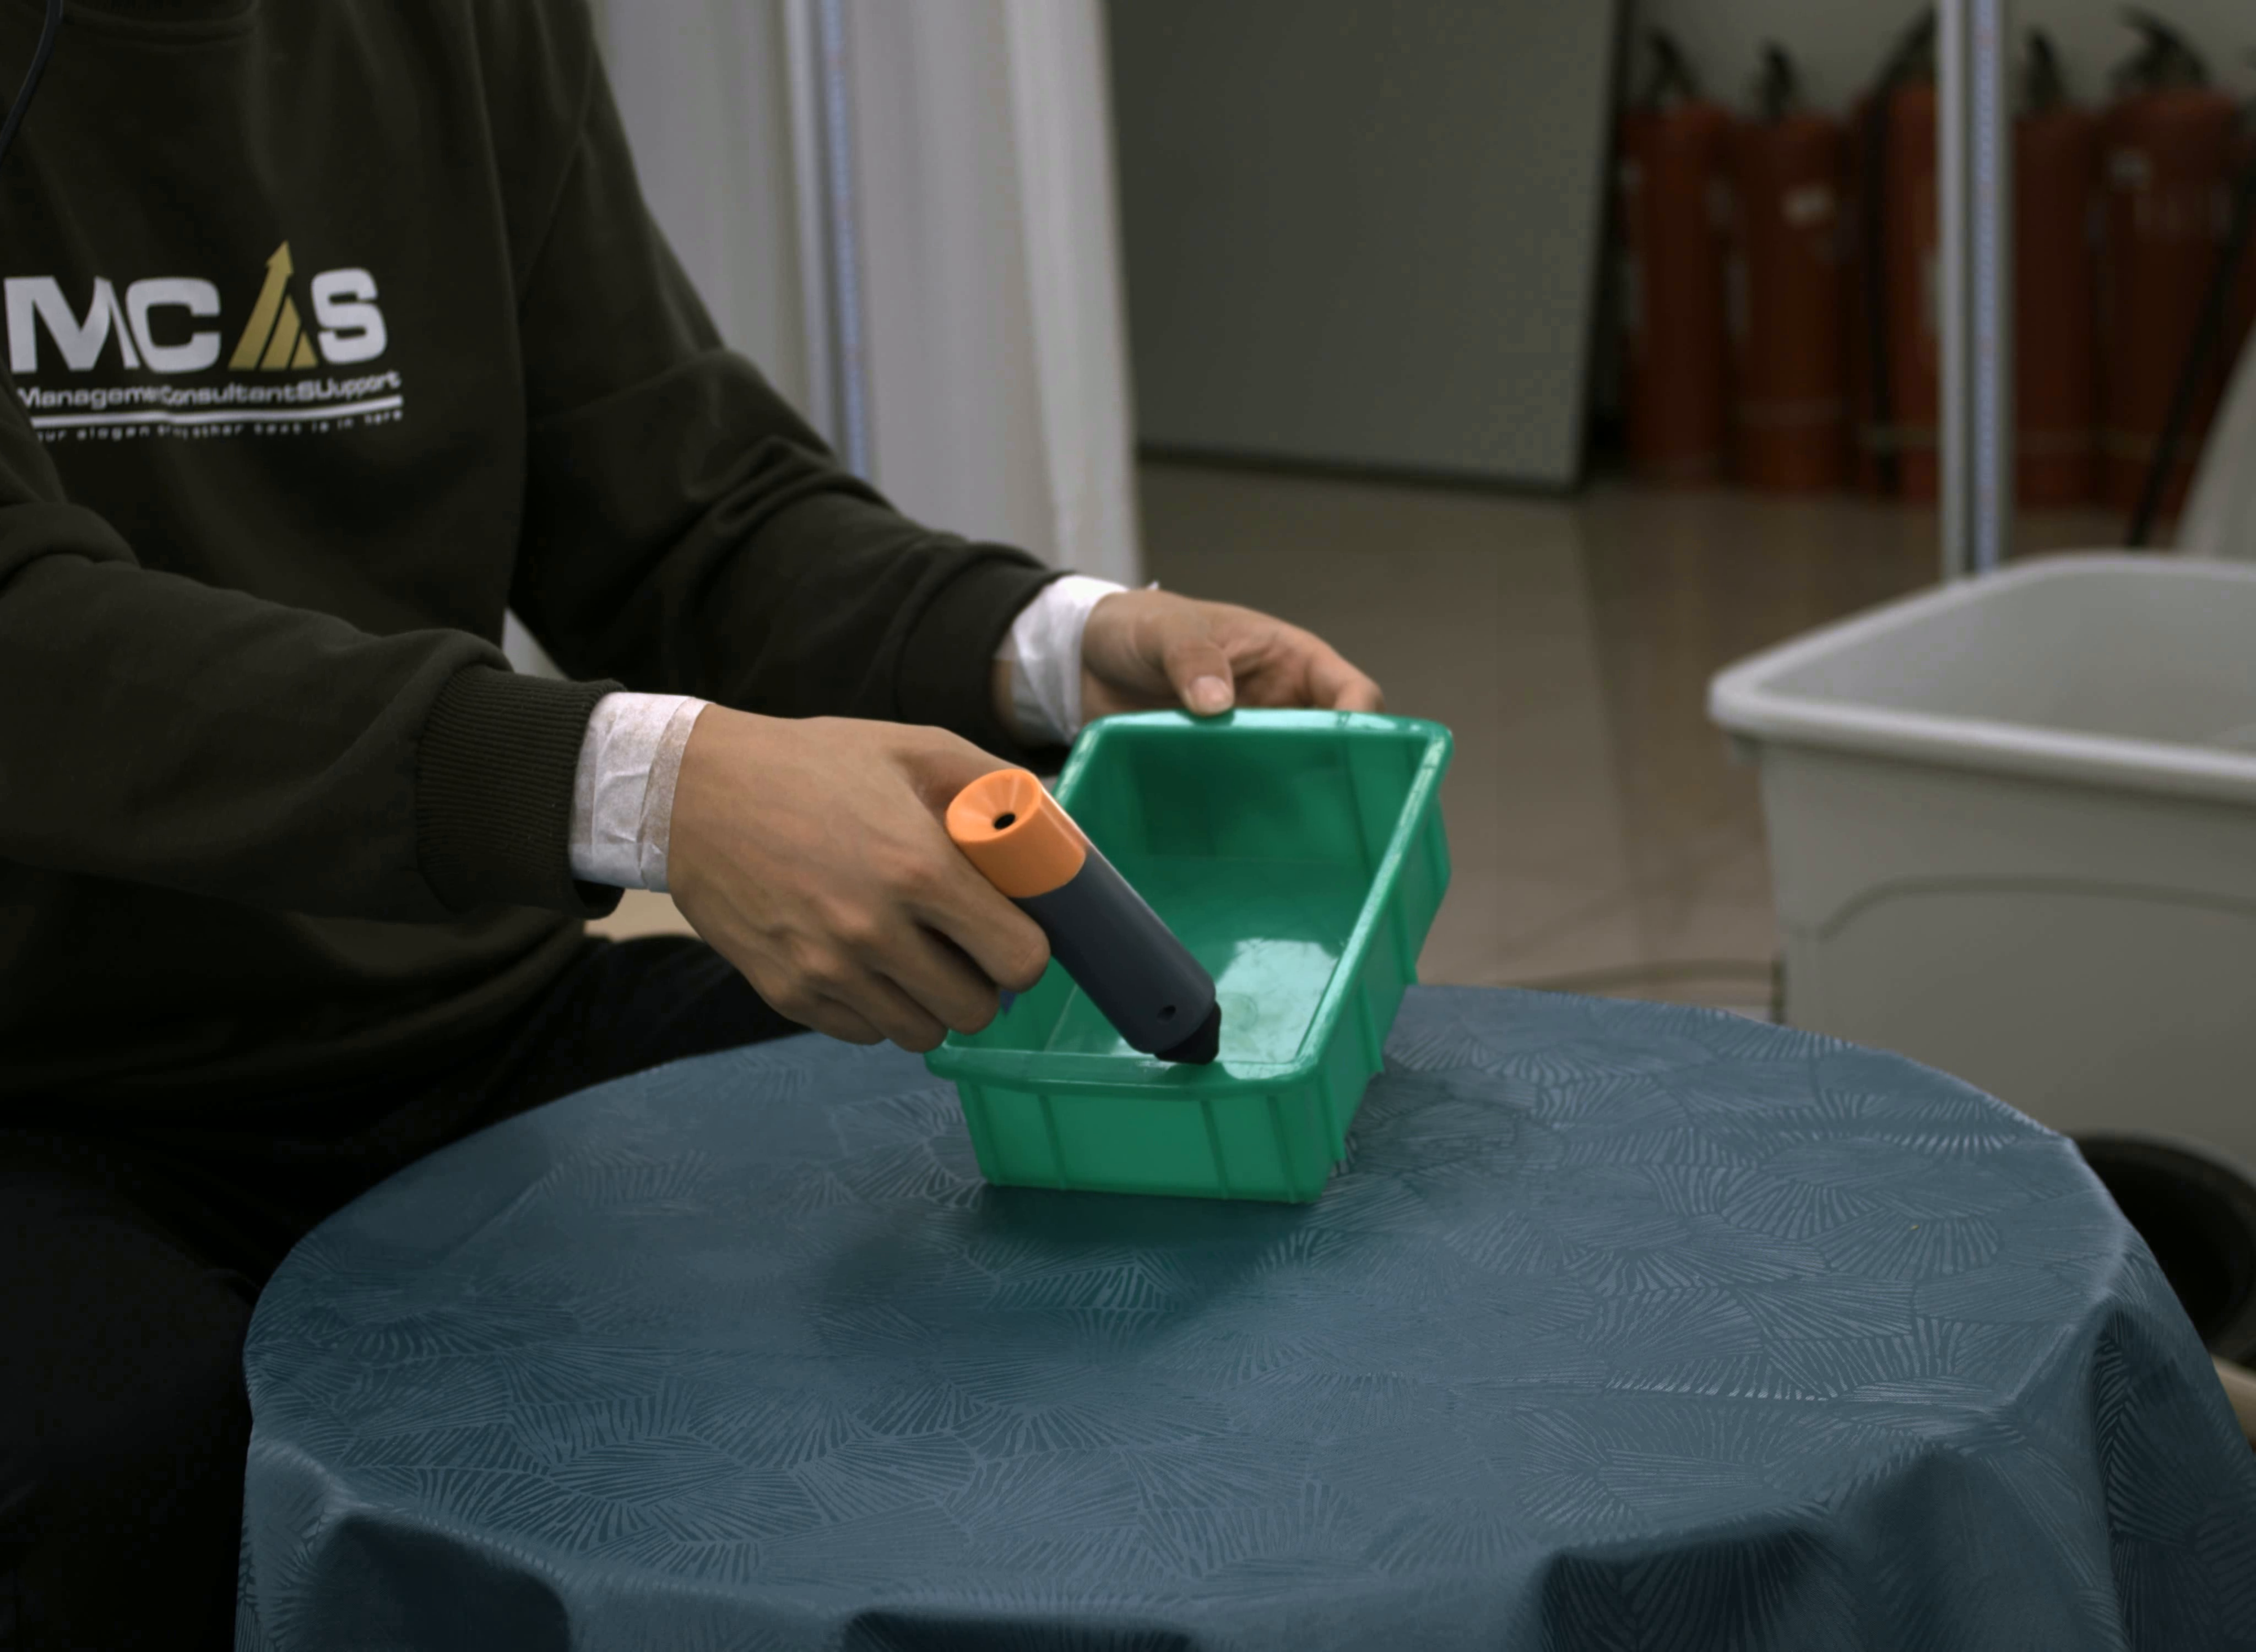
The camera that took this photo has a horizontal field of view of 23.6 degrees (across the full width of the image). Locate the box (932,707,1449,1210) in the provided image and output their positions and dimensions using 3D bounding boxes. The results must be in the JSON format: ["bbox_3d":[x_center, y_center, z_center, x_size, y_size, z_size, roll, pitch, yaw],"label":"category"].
[{"bbox_3d":[0.028,0.046,1.821,0.138,0.065,0.210,-1,38,20],"label":"box"}]

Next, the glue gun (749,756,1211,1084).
[{"bbox_3d":[-0.045,0.032,1.723,0.140,0.118,0.041,3,40,32],"label":"glue gun"}]
